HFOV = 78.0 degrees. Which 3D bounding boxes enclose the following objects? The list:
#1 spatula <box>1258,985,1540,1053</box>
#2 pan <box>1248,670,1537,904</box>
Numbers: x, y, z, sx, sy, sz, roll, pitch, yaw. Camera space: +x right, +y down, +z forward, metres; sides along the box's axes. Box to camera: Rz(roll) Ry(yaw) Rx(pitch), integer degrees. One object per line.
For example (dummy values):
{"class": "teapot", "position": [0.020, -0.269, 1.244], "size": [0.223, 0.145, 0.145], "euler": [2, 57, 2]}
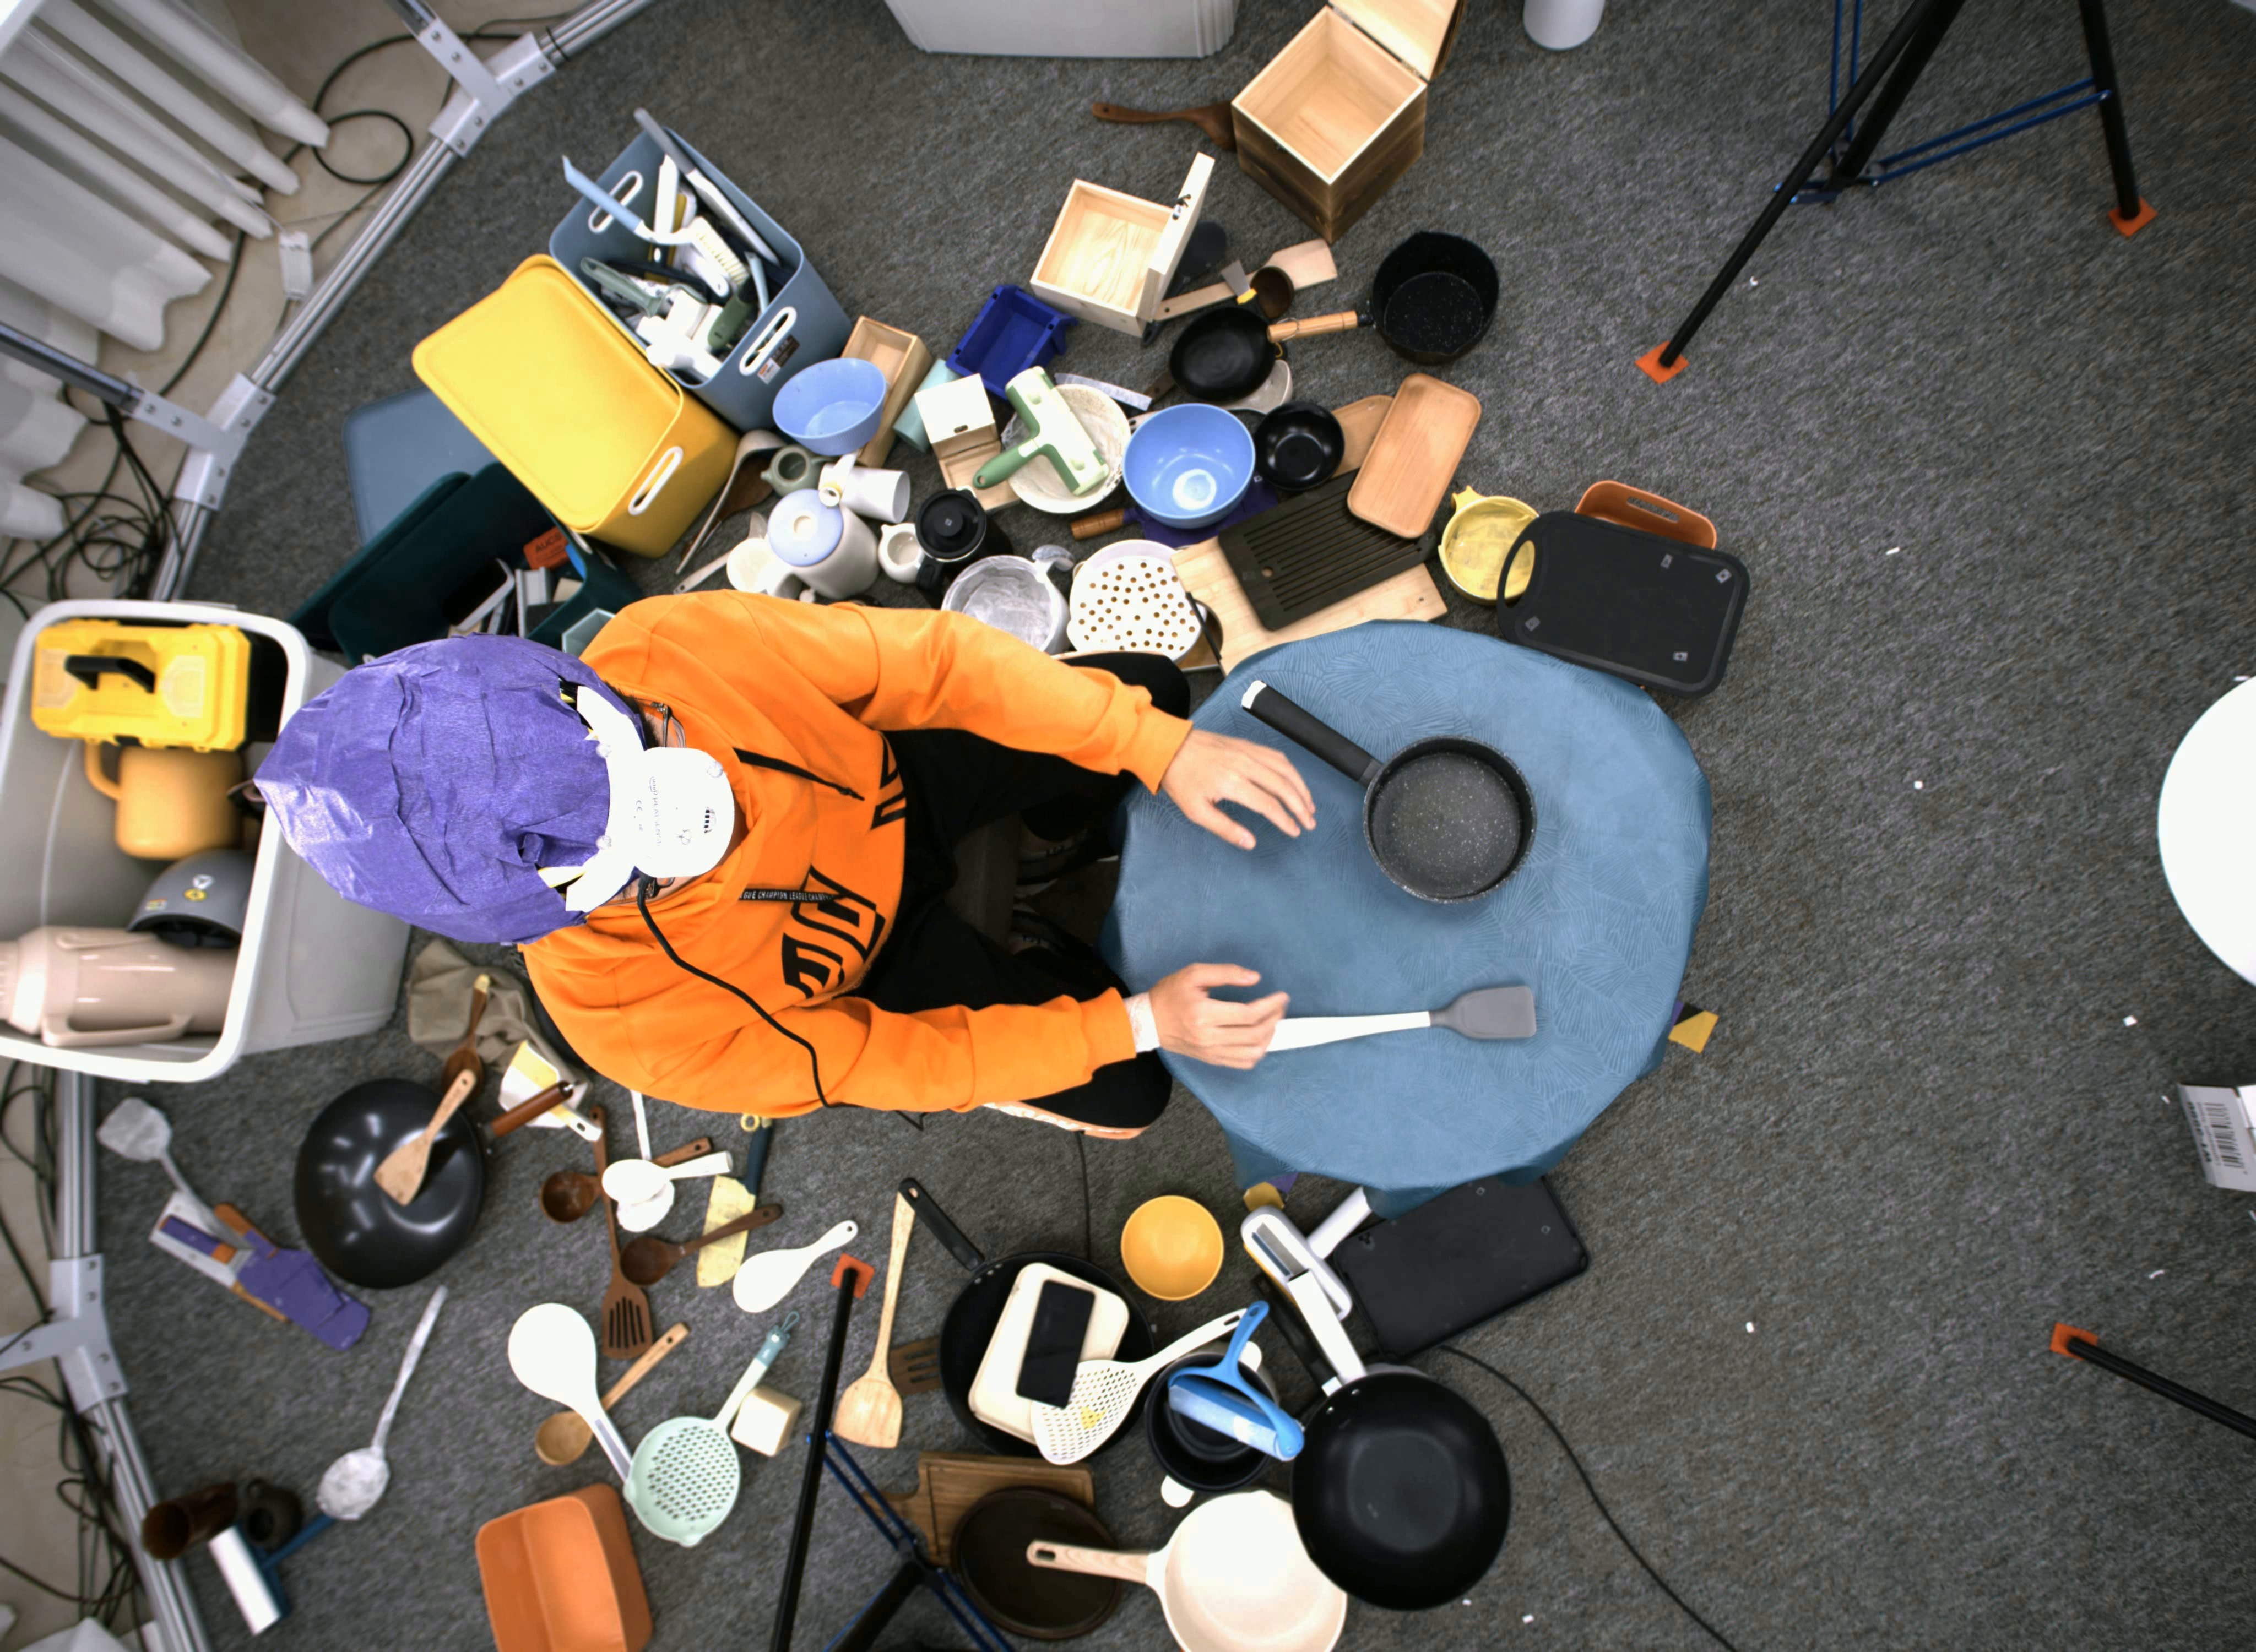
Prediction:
{"class": "spatula", "position": [0.279, 0.204, 1.435], "size": [0.289, 0.032, 0.058], "euler": [-7, 82, 11]}
{"class": "pan", "position": [0.264, -0.051, 1.425], "size": [0.328, 0.086, 0.172], "euler": [36, 92, 9]}
